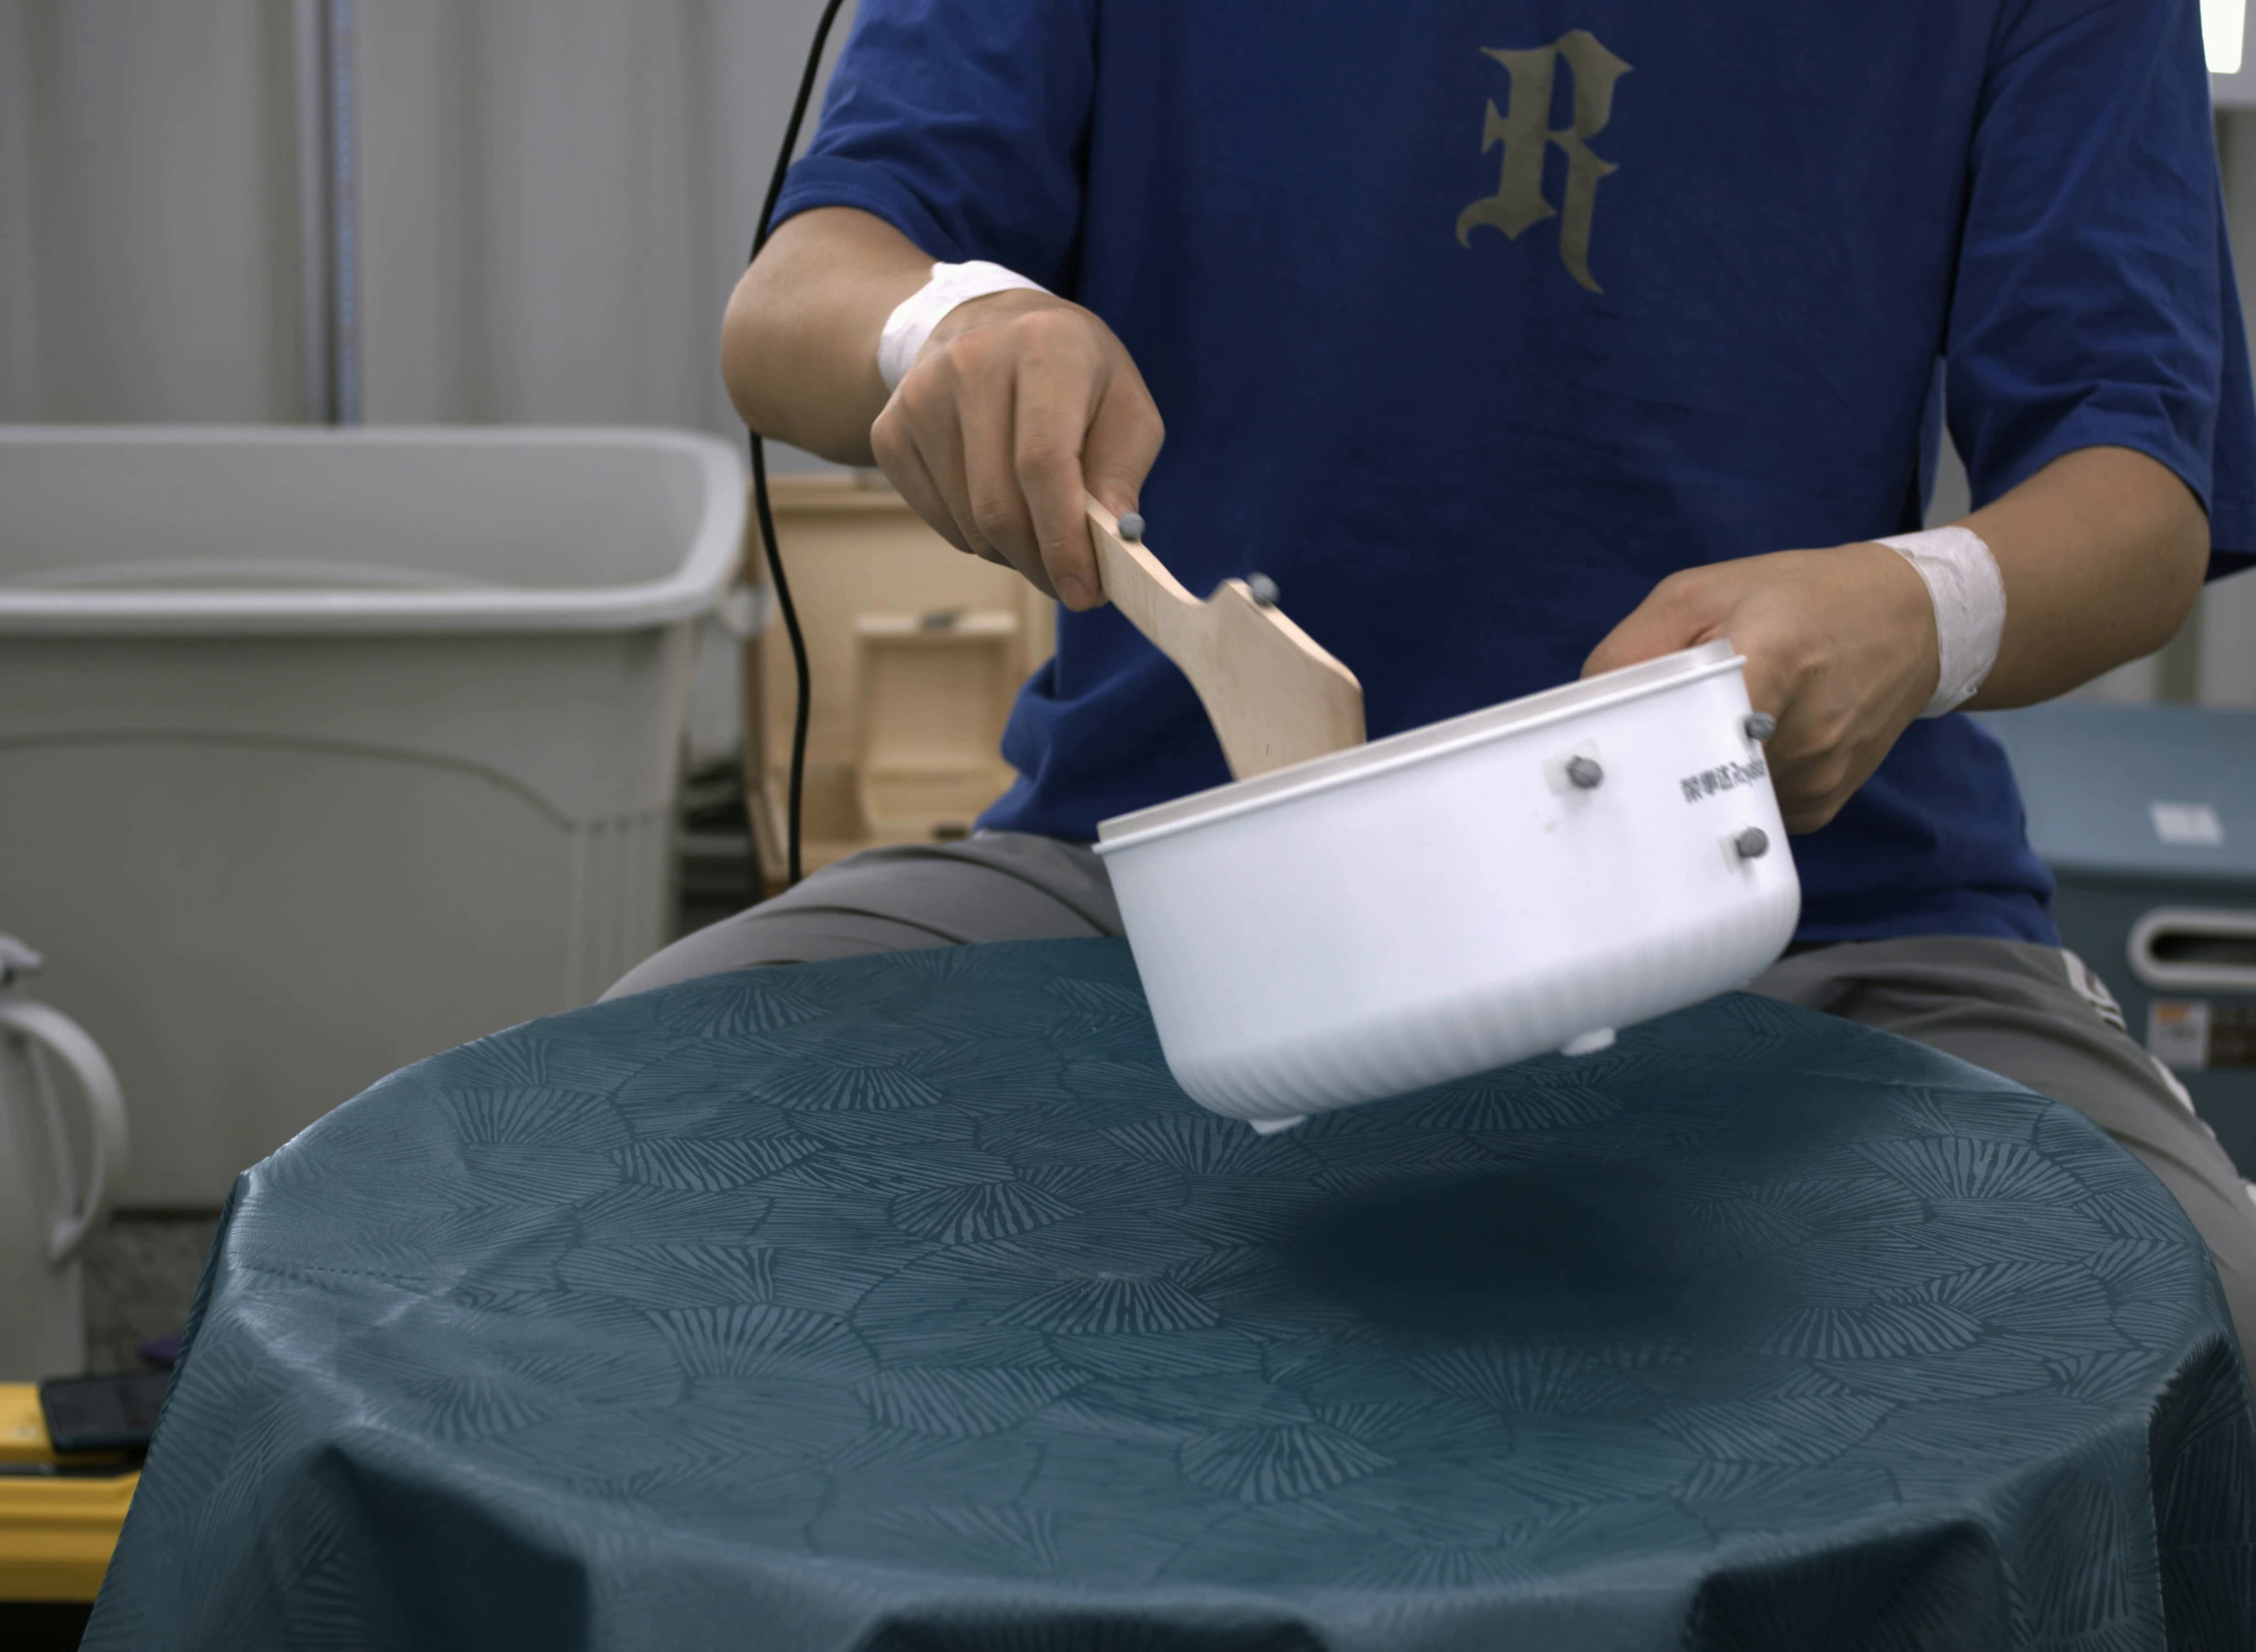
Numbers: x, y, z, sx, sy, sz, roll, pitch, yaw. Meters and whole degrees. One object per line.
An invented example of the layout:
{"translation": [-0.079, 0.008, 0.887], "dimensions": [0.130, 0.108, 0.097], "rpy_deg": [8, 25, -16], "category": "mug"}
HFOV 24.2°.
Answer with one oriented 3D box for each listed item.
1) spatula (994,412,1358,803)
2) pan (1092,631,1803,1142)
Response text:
{"translation": [0.010, -0.068, 1.622], "dimensions": [0.011, 0.073, 0.289], "rpy_deg": [-10, 28, -19], "category": "spatula"}
{"translation": [0.133, 0.011, 1.620], "dimensions": [0.200, 0.102, 0.356], "rpy_deg": [-19, -1, 29], "category": "pan"}
